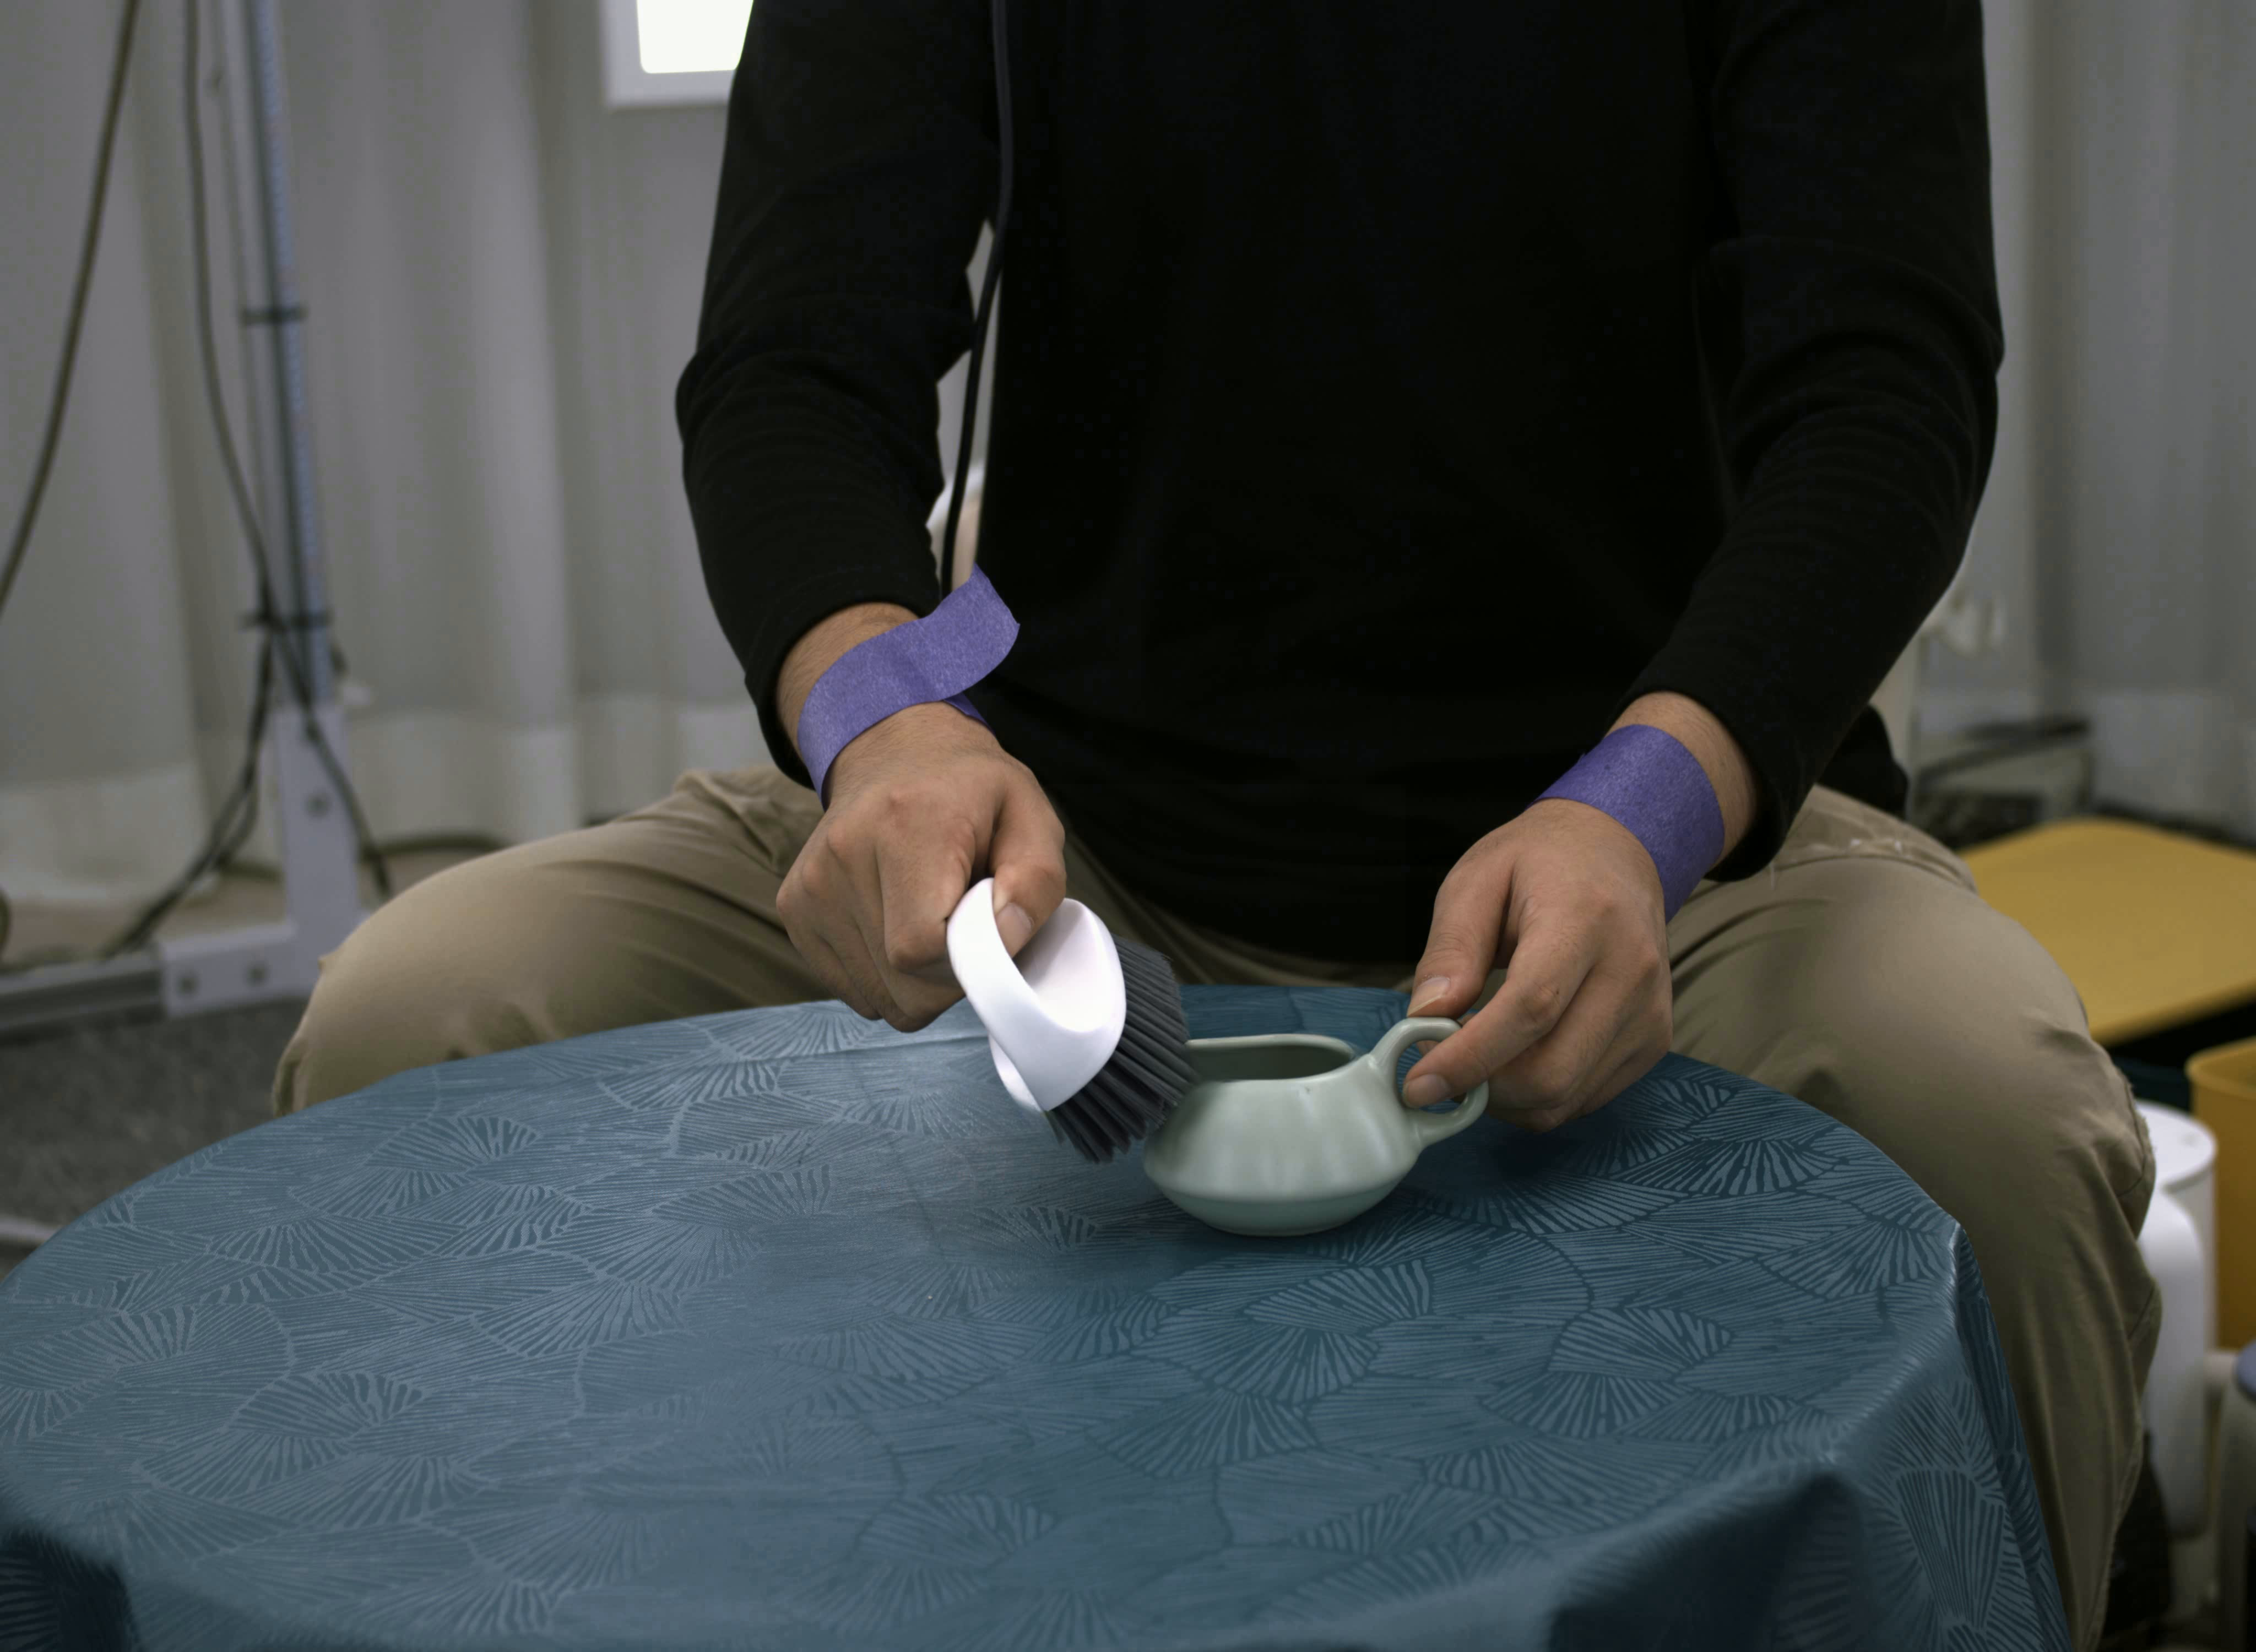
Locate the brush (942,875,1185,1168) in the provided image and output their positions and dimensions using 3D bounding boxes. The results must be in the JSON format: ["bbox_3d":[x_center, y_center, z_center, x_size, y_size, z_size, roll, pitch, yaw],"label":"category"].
[{"bbox_3d":[-0.026,0.052,1.678,0.050,0.072,0.100,-43,24,15],"label":"brush"}]

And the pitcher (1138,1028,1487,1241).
[{"bbox_3d":[0.057,0.092,1.684,0.107,0.060,0.087,-1,15,-8],"label":"pitcher"}]
